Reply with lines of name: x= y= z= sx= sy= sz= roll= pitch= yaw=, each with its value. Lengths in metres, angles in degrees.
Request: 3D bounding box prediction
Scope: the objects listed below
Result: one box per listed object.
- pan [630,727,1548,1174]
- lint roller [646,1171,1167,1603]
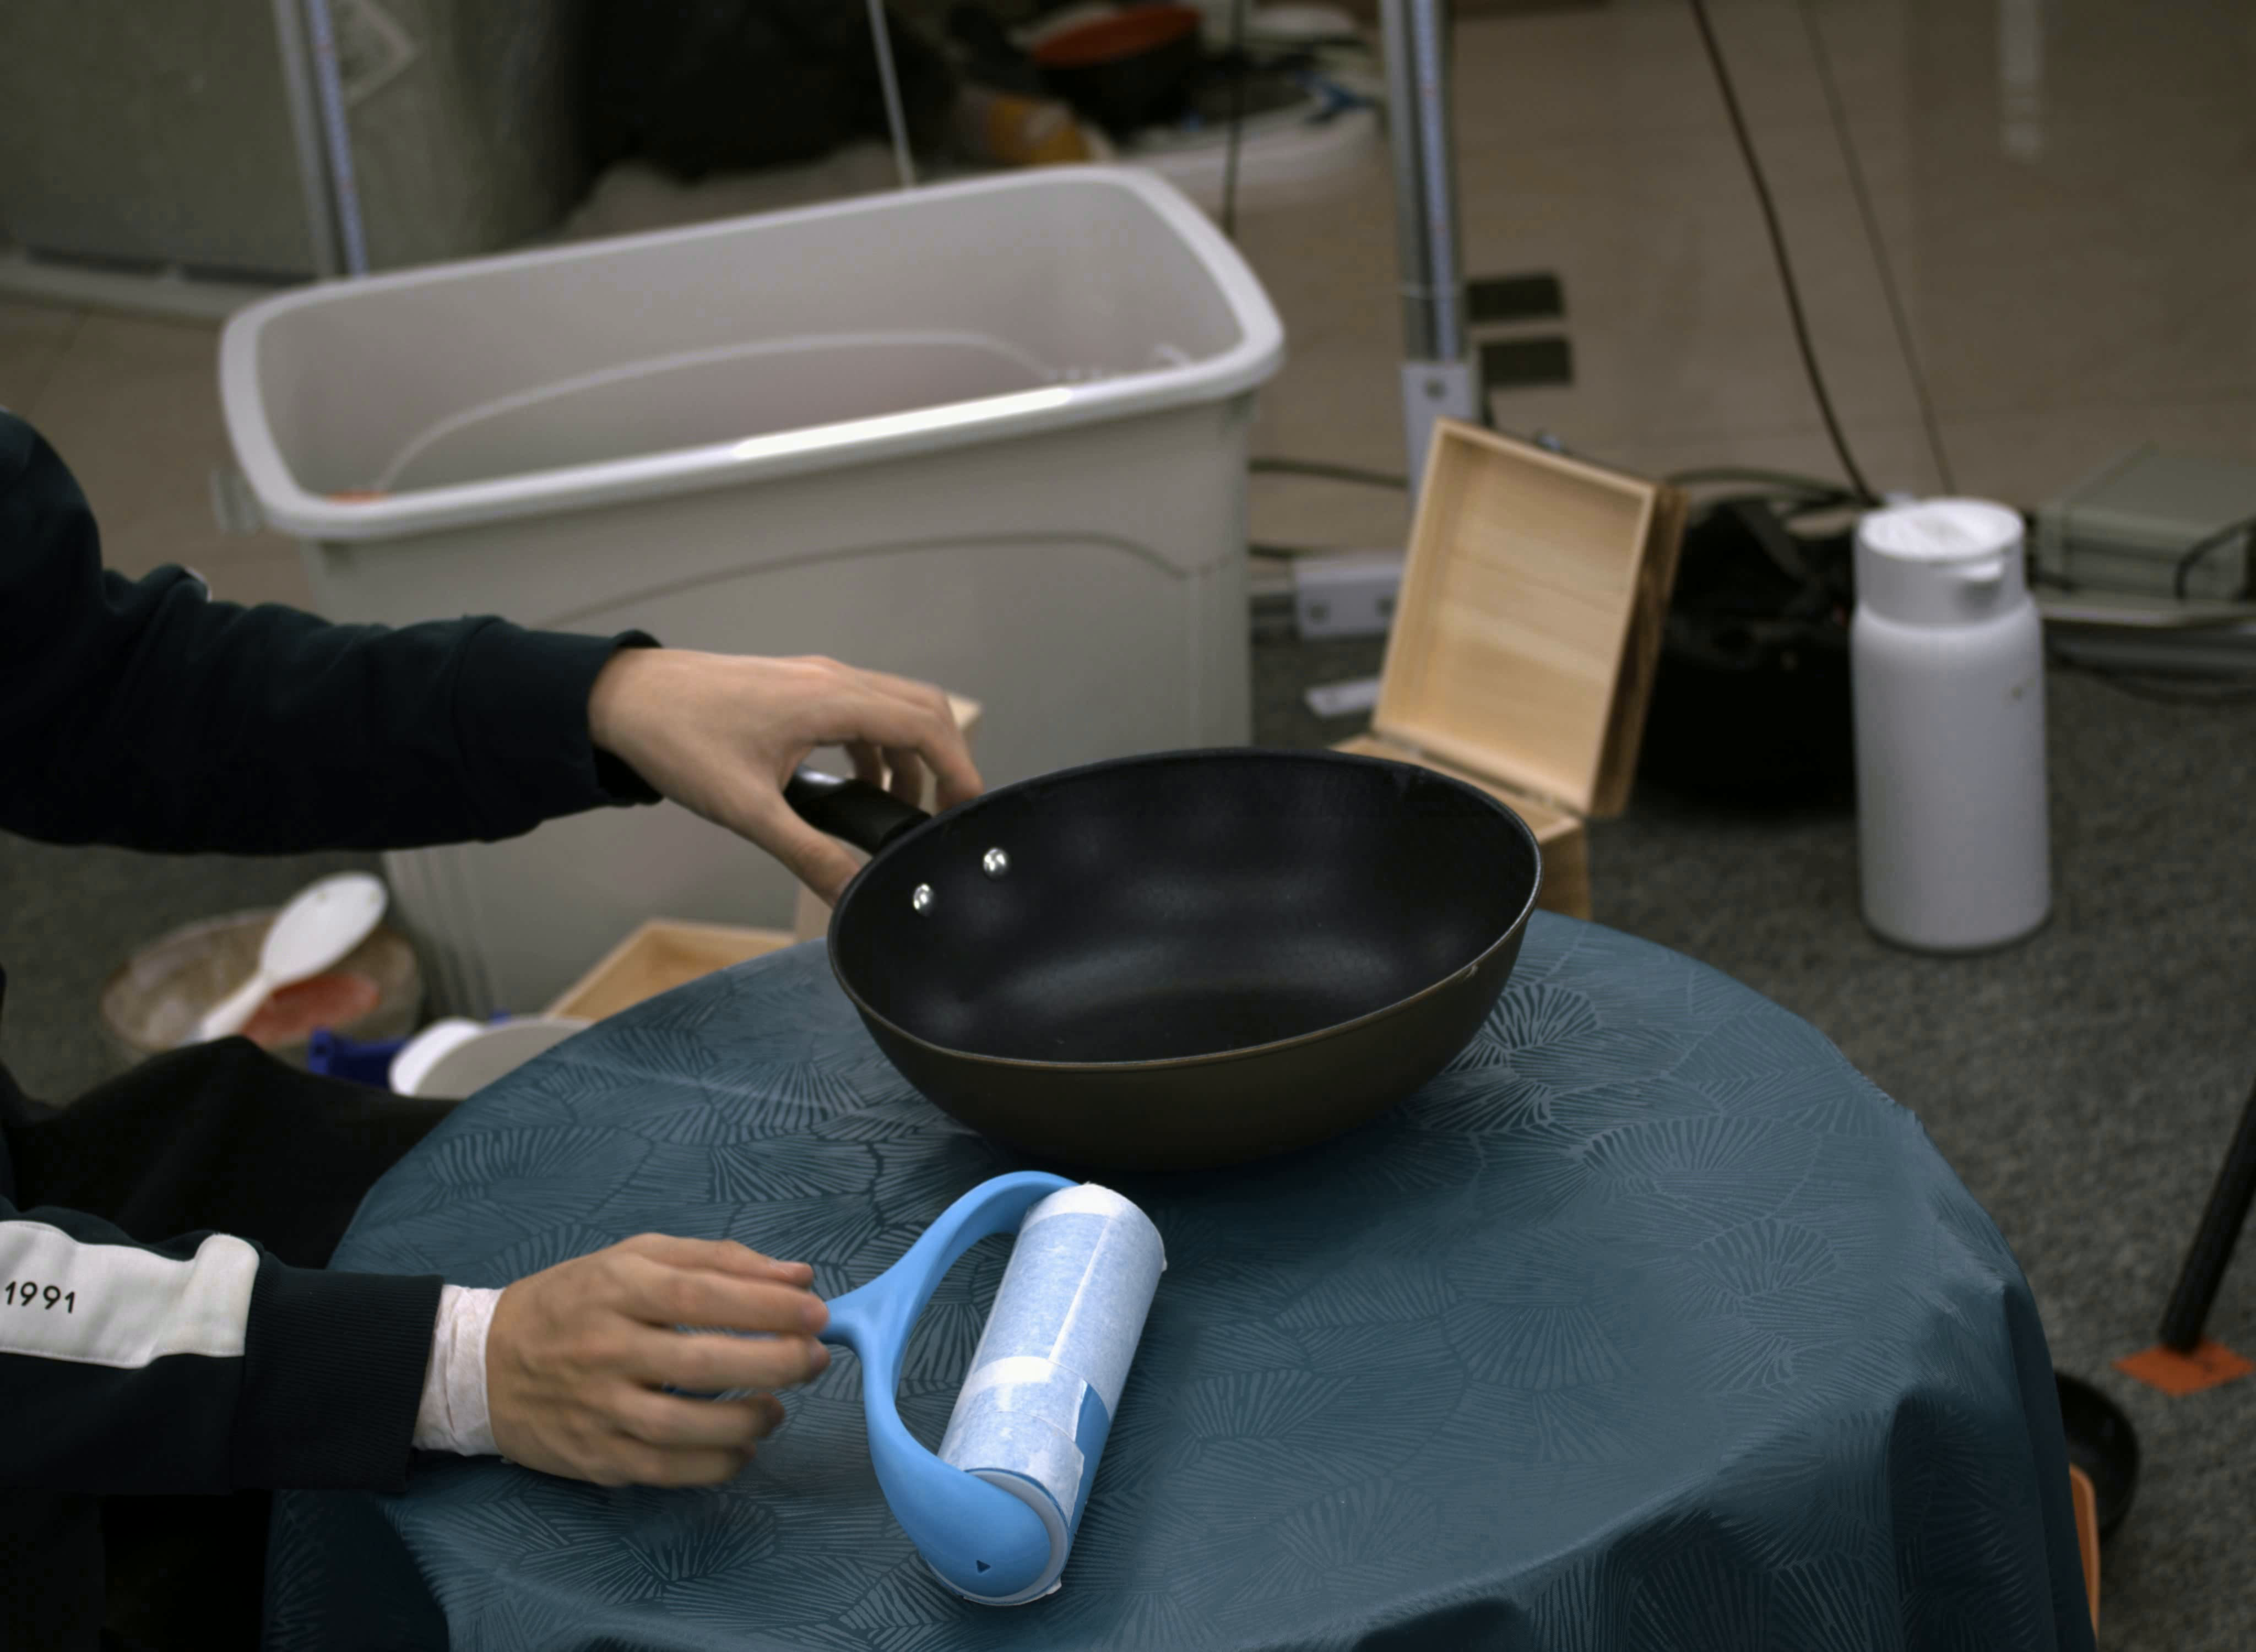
pan: x=-0.040 y=0.044 z=2.261 sx=0.460 sy=0.088 sz=0.285 roll=16 pitch=33 yaw=41
lint roller: x=-0.084 y=0.196 z=1.977 sx=0.180 sy=0.069 sz=0.225 roll=-2 pitch=27 yaw=8
